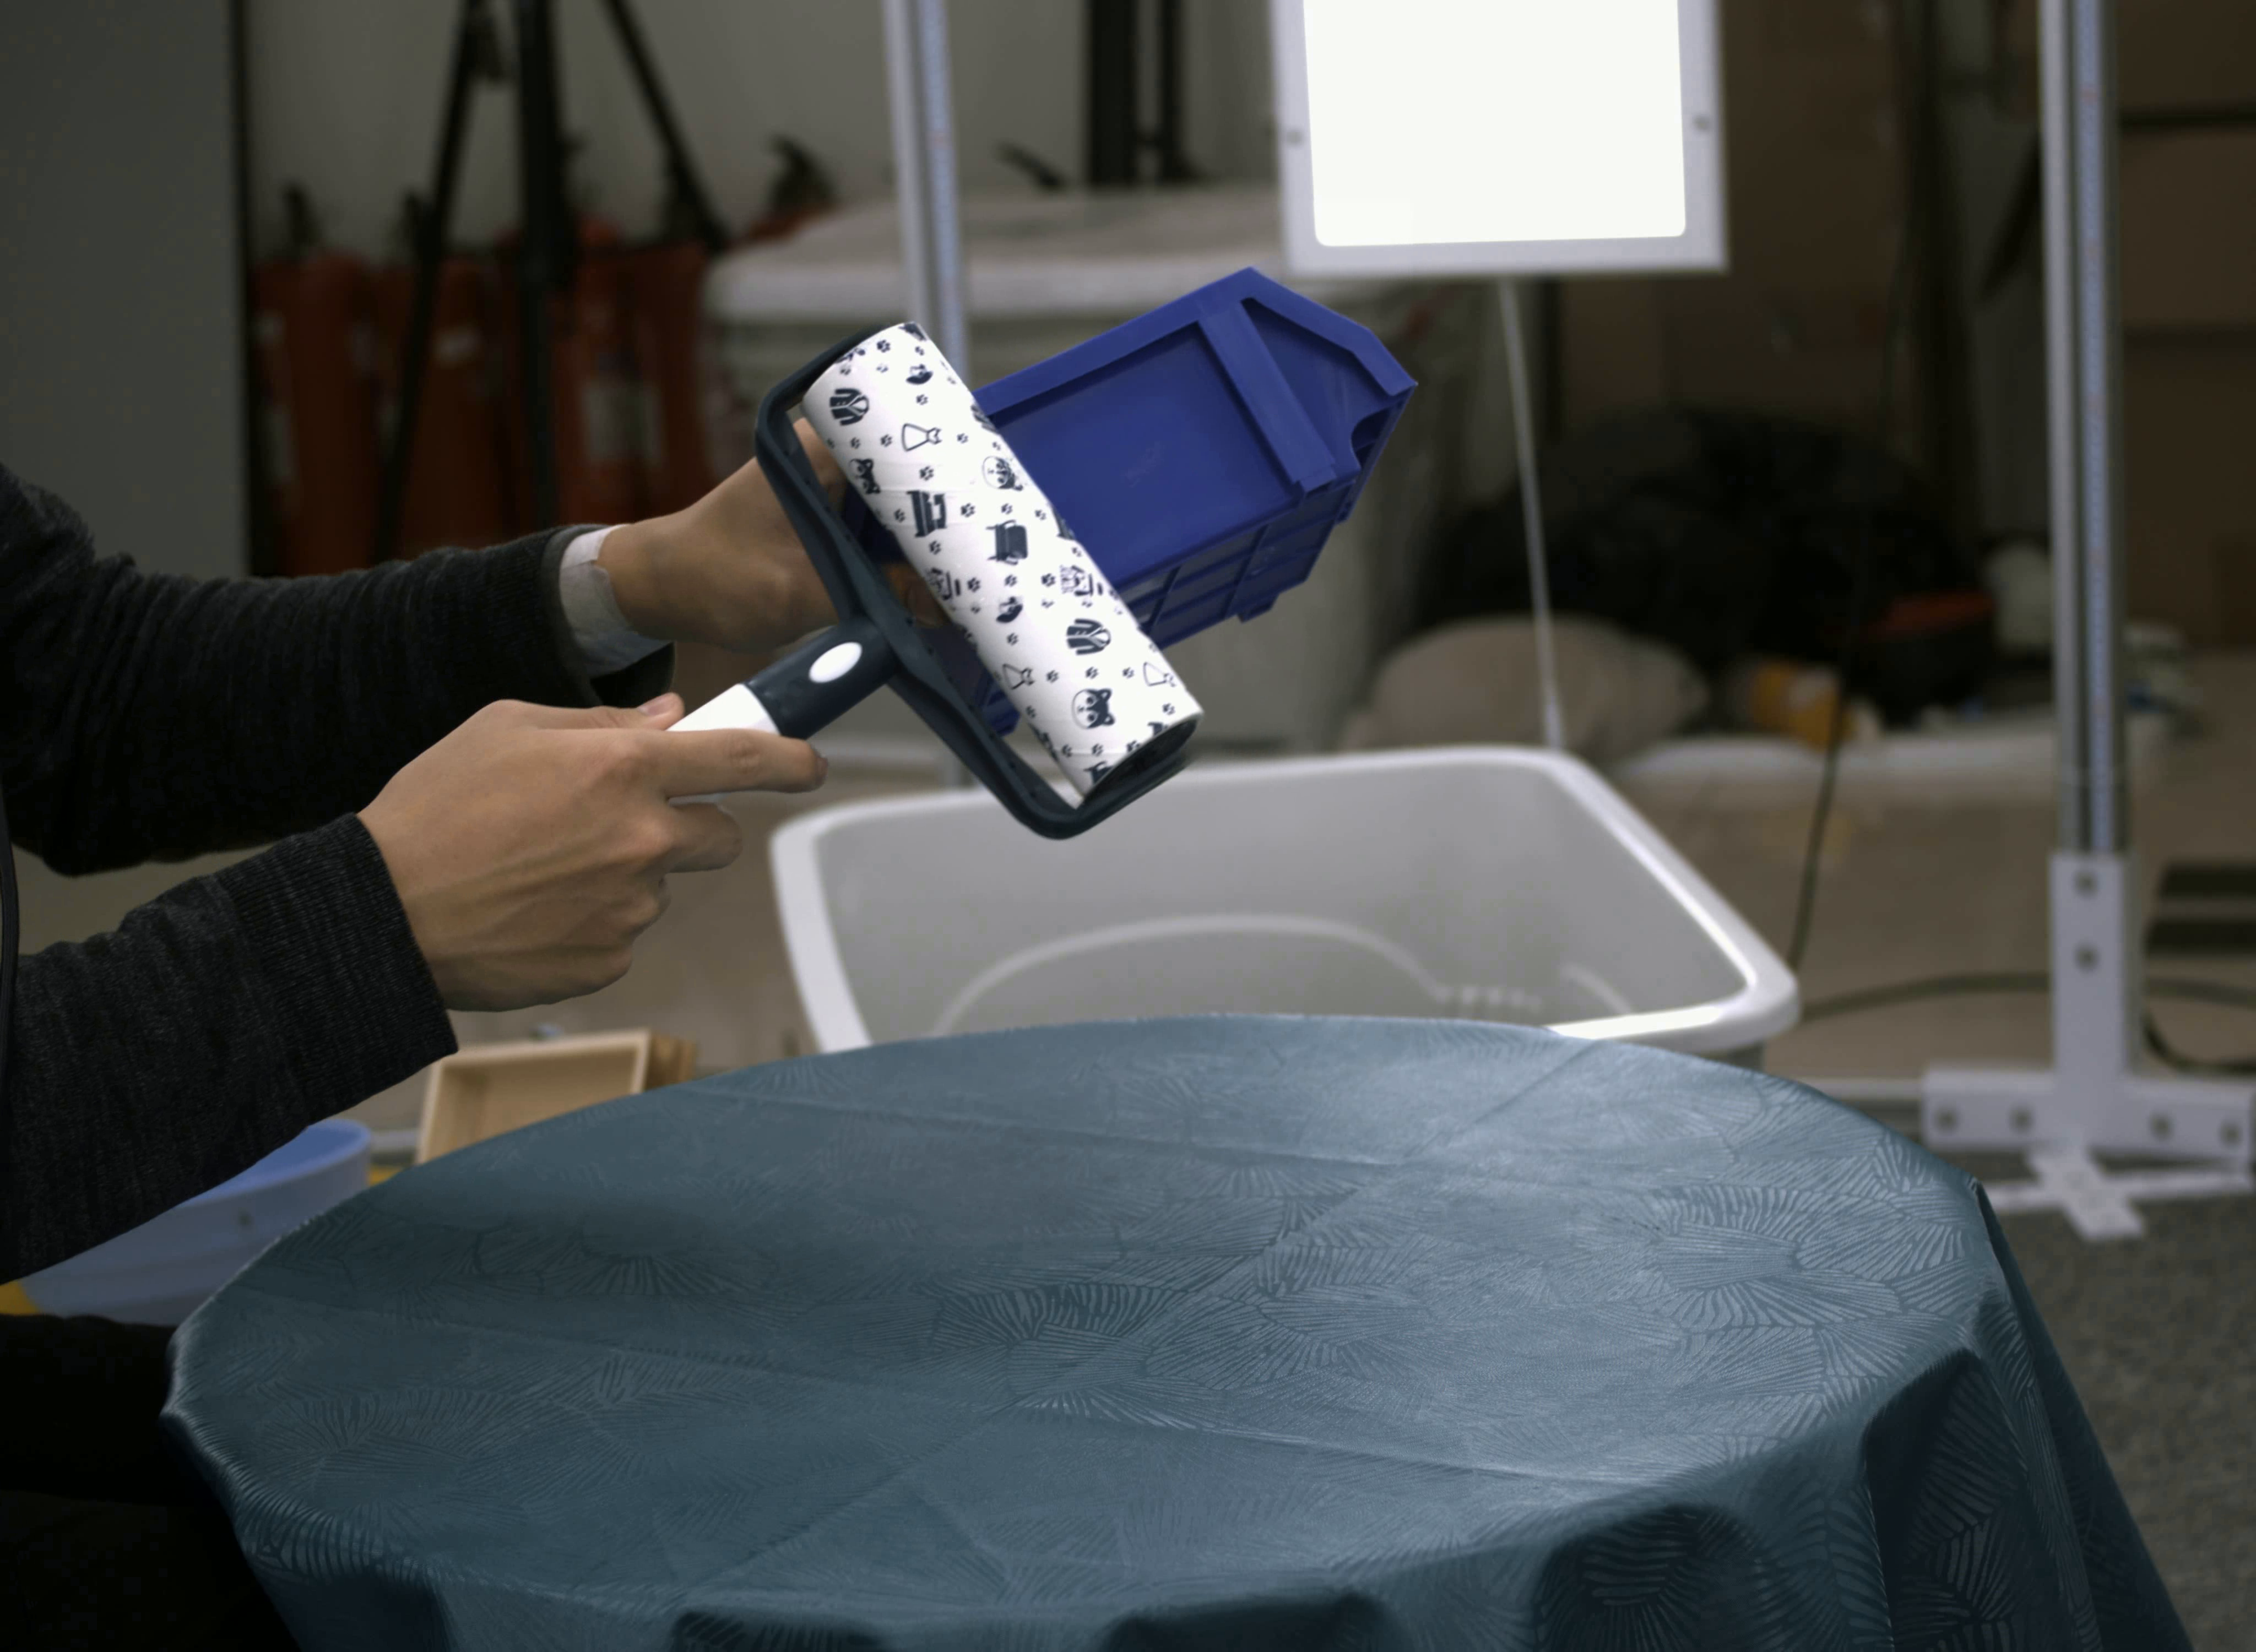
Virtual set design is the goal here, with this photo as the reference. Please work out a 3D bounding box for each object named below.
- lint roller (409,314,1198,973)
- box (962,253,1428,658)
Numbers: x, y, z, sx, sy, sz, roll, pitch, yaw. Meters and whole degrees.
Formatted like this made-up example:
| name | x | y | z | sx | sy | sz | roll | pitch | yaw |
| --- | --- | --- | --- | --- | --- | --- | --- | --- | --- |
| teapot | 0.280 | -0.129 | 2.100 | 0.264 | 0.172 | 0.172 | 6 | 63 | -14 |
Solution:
| name | x | y | z | sx | sy | sz | roll | pitch | yaw |
| --- | --- | --- | --- | --- | --- | --- | --- | --- | --- |
| lint roller | -0.120 | -0.030 | 1.740 | 0.244 | 0.177 | 0.050 | -35 | -10 | -12 |
| box | 0.006 | -0.113 | 1.865 | 0.177 | 0.082 | 0.125 | -28 | -13 | -15 |
